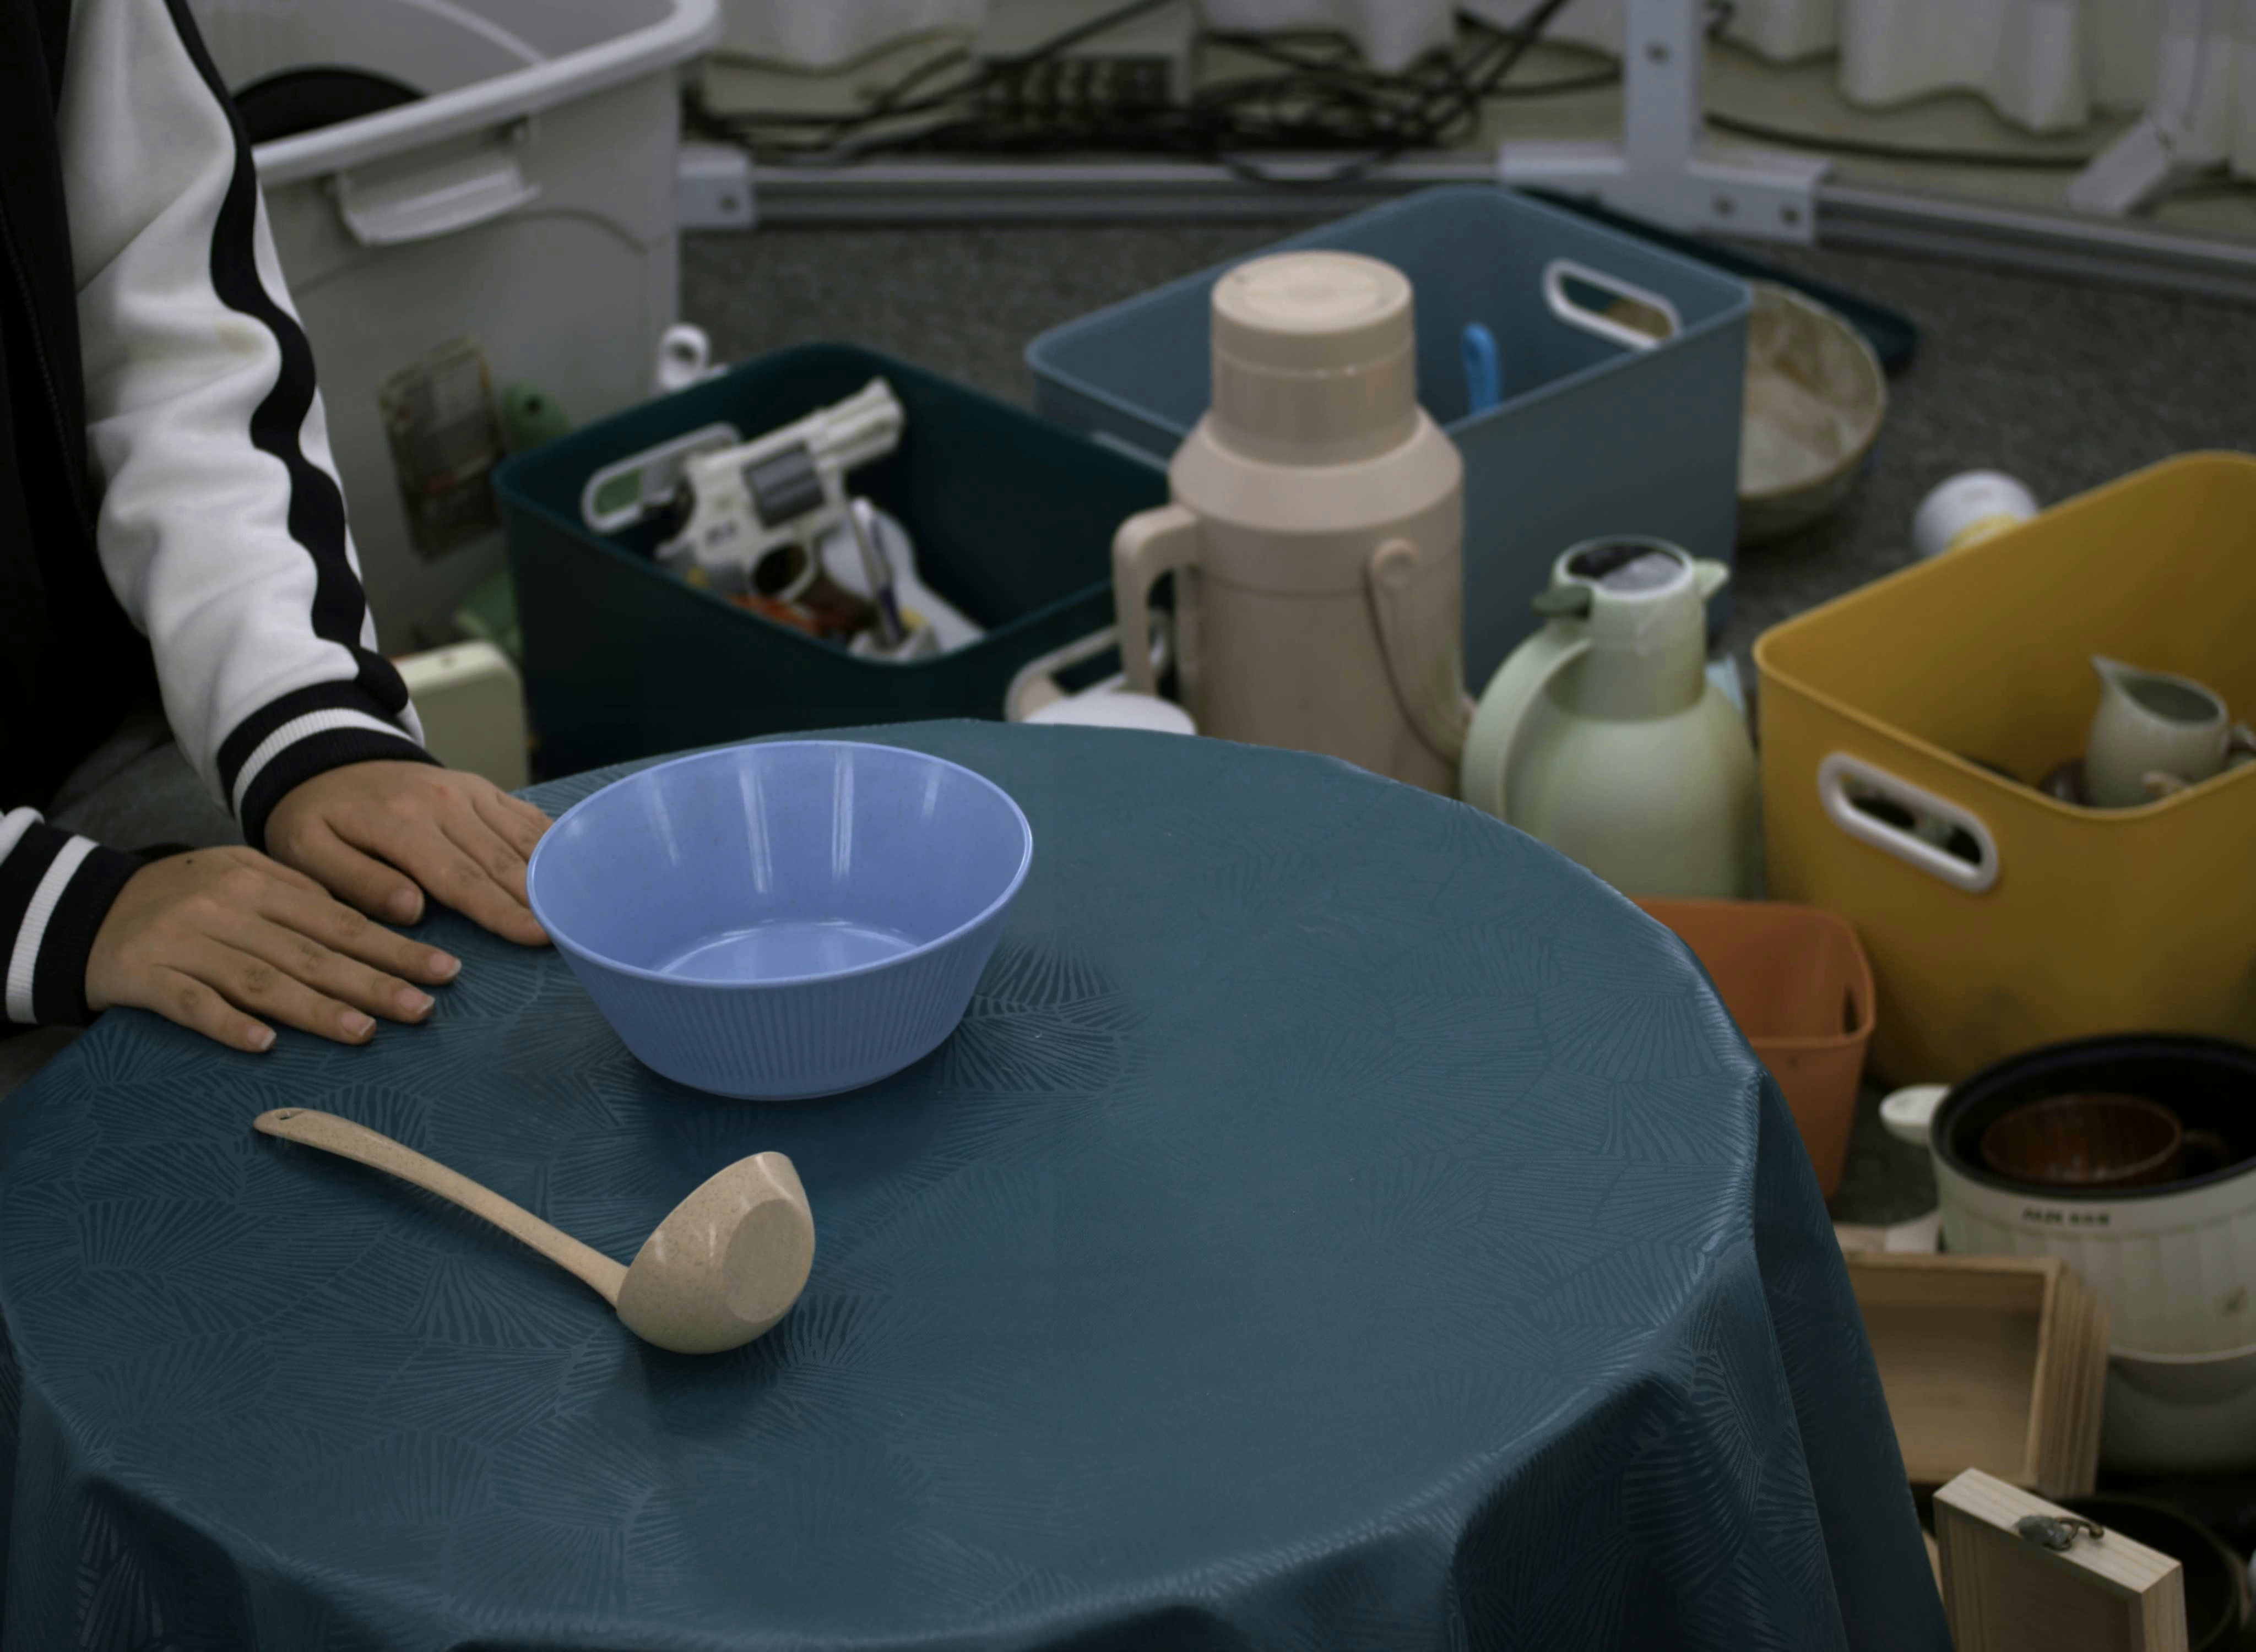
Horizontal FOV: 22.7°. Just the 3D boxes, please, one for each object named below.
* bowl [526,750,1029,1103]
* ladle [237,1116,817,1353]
[{"bbox_3d":[-0.120,0.041,1.956,0.175,0.069,0.179,-1,27,1],"label":"bowl"},{"bbox_3d":[-0.206,0.106,1.834,0.253,0.072,0.073,19,30,36],"label":"ladle"}]
